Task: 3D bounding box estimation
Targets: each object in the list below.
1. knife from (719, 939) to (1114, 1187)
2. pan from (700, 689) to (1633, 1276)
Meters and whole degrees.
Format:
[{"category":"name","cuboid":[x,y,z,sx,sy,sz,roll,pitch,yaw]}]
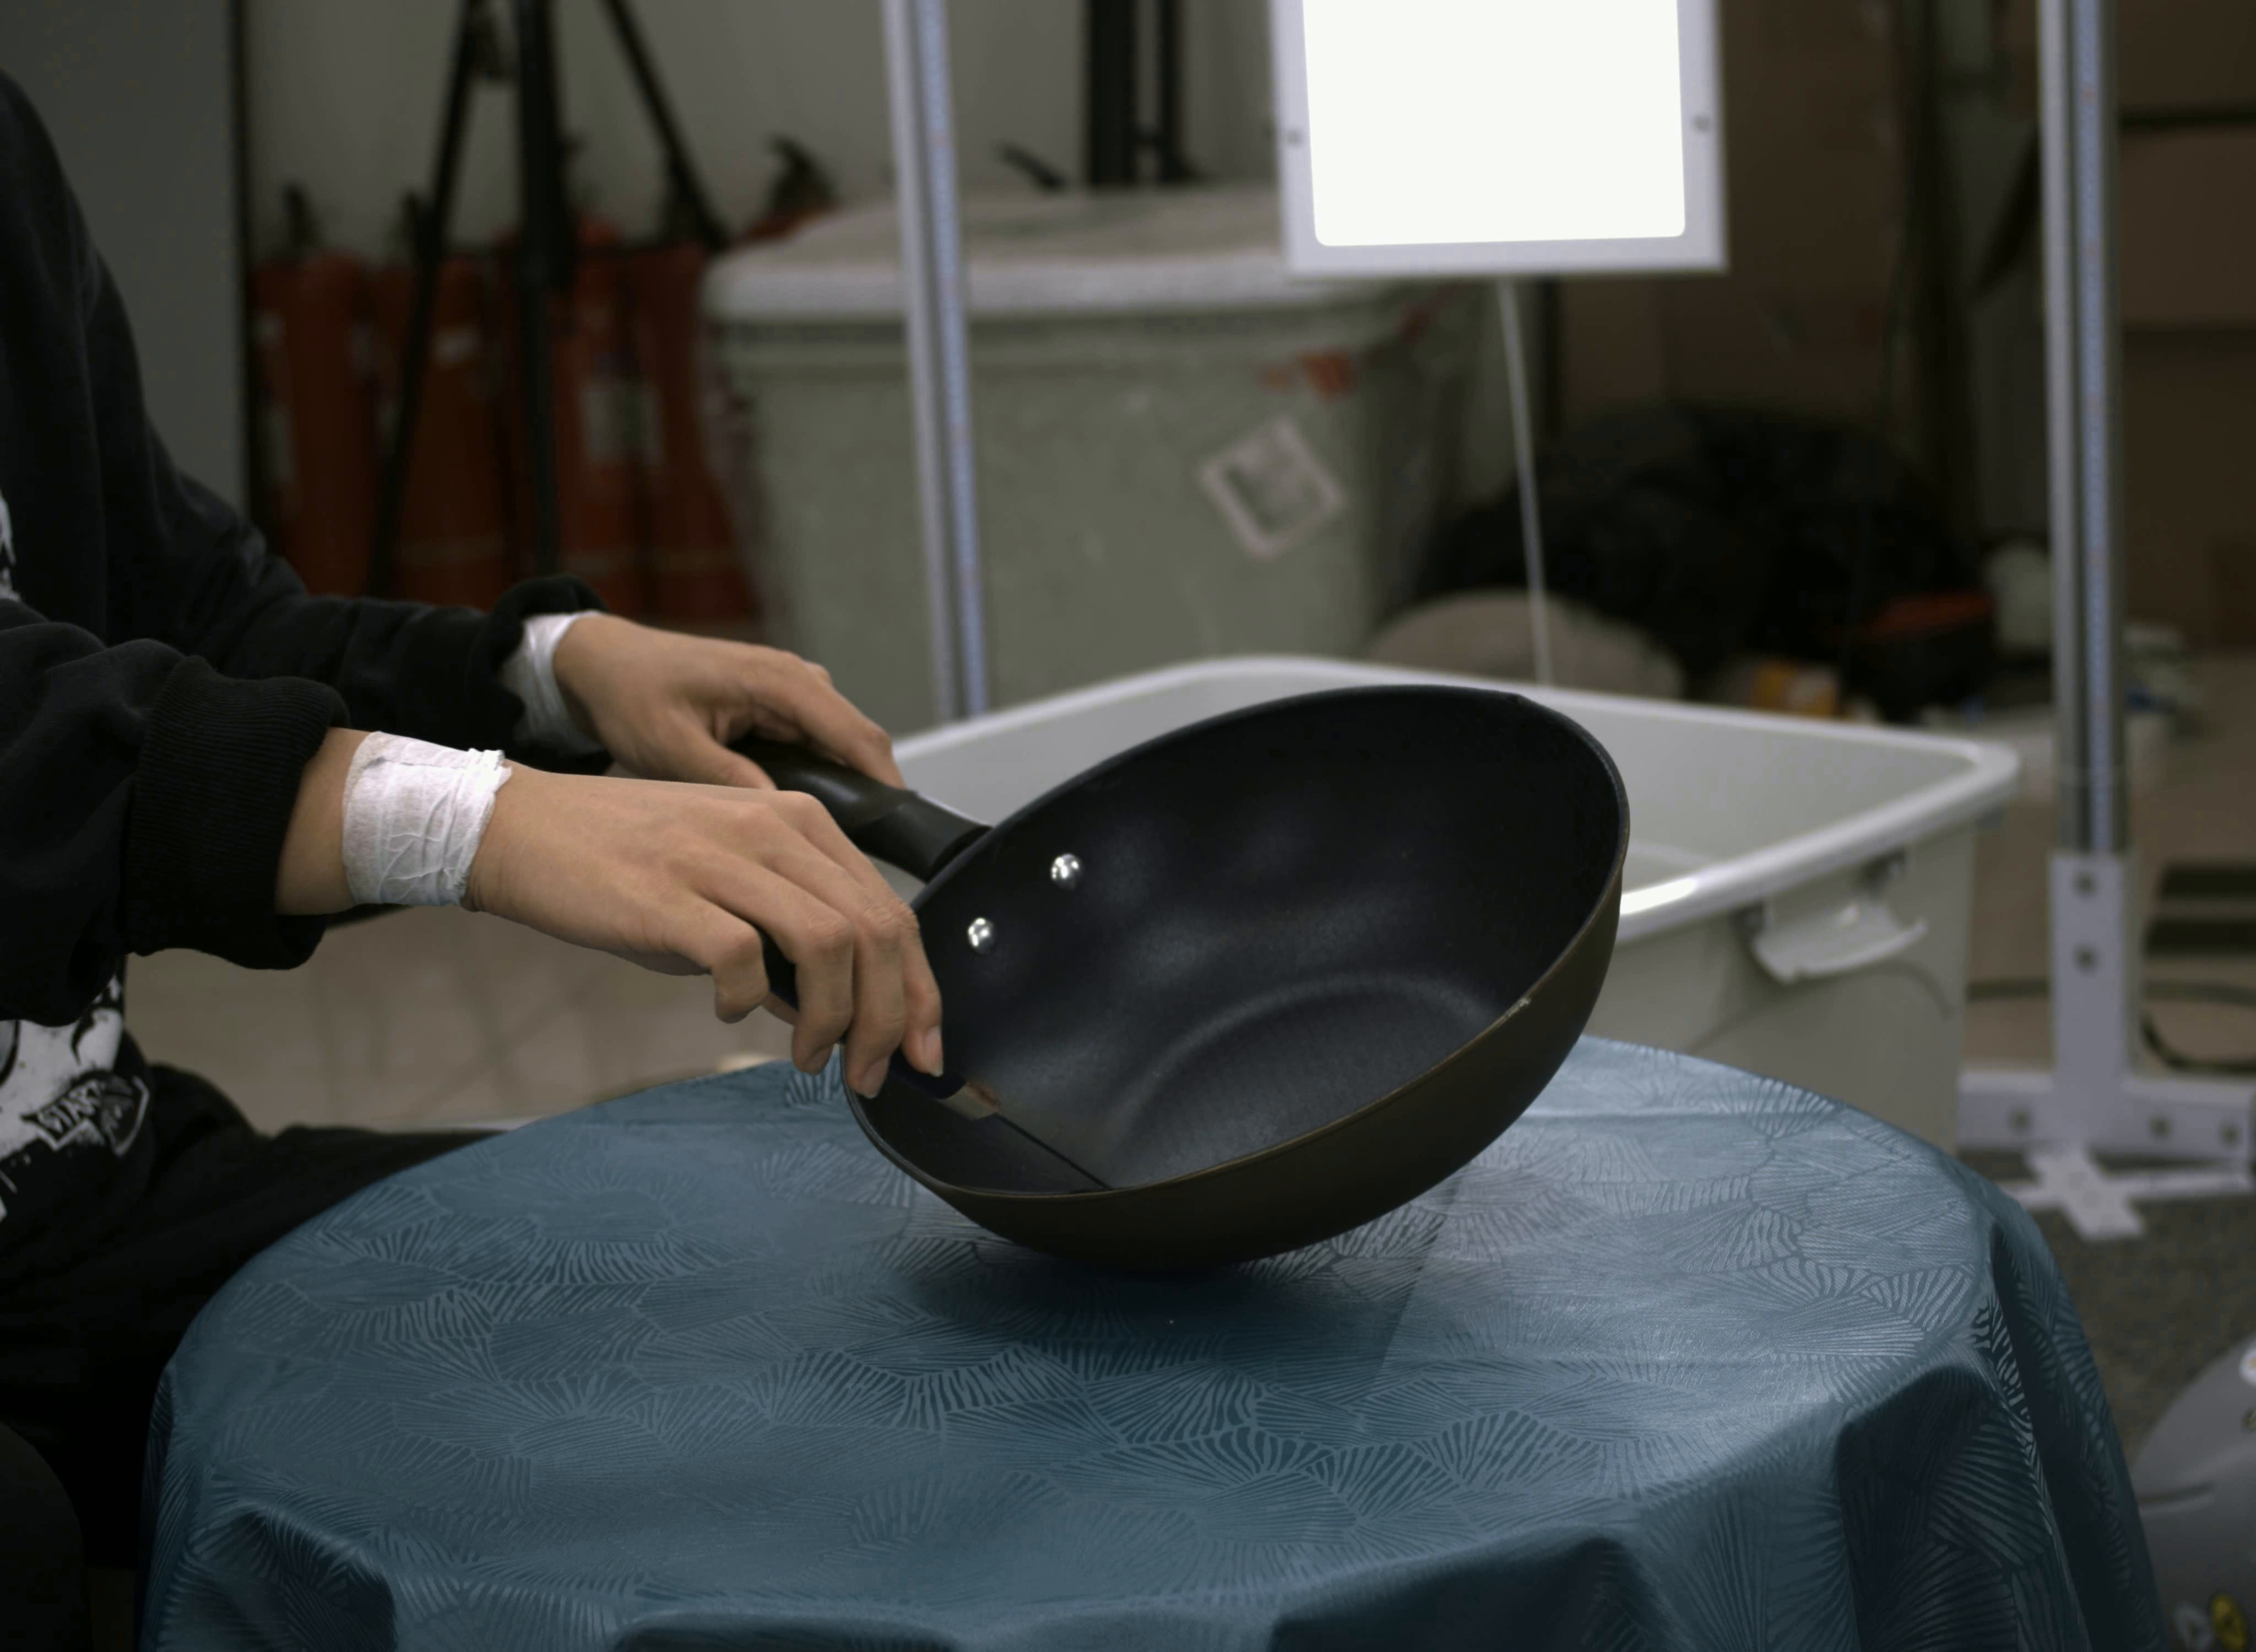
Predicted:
[{"category":"knife","cuboid":[-0.048,0.086,1.715,0.027,0.017,0.221,5,-22,48]},{"category":"pan","cuboid":[-0.009,0.048,1.927,0.283,0.086,0.473,-39,31,-24]}]
